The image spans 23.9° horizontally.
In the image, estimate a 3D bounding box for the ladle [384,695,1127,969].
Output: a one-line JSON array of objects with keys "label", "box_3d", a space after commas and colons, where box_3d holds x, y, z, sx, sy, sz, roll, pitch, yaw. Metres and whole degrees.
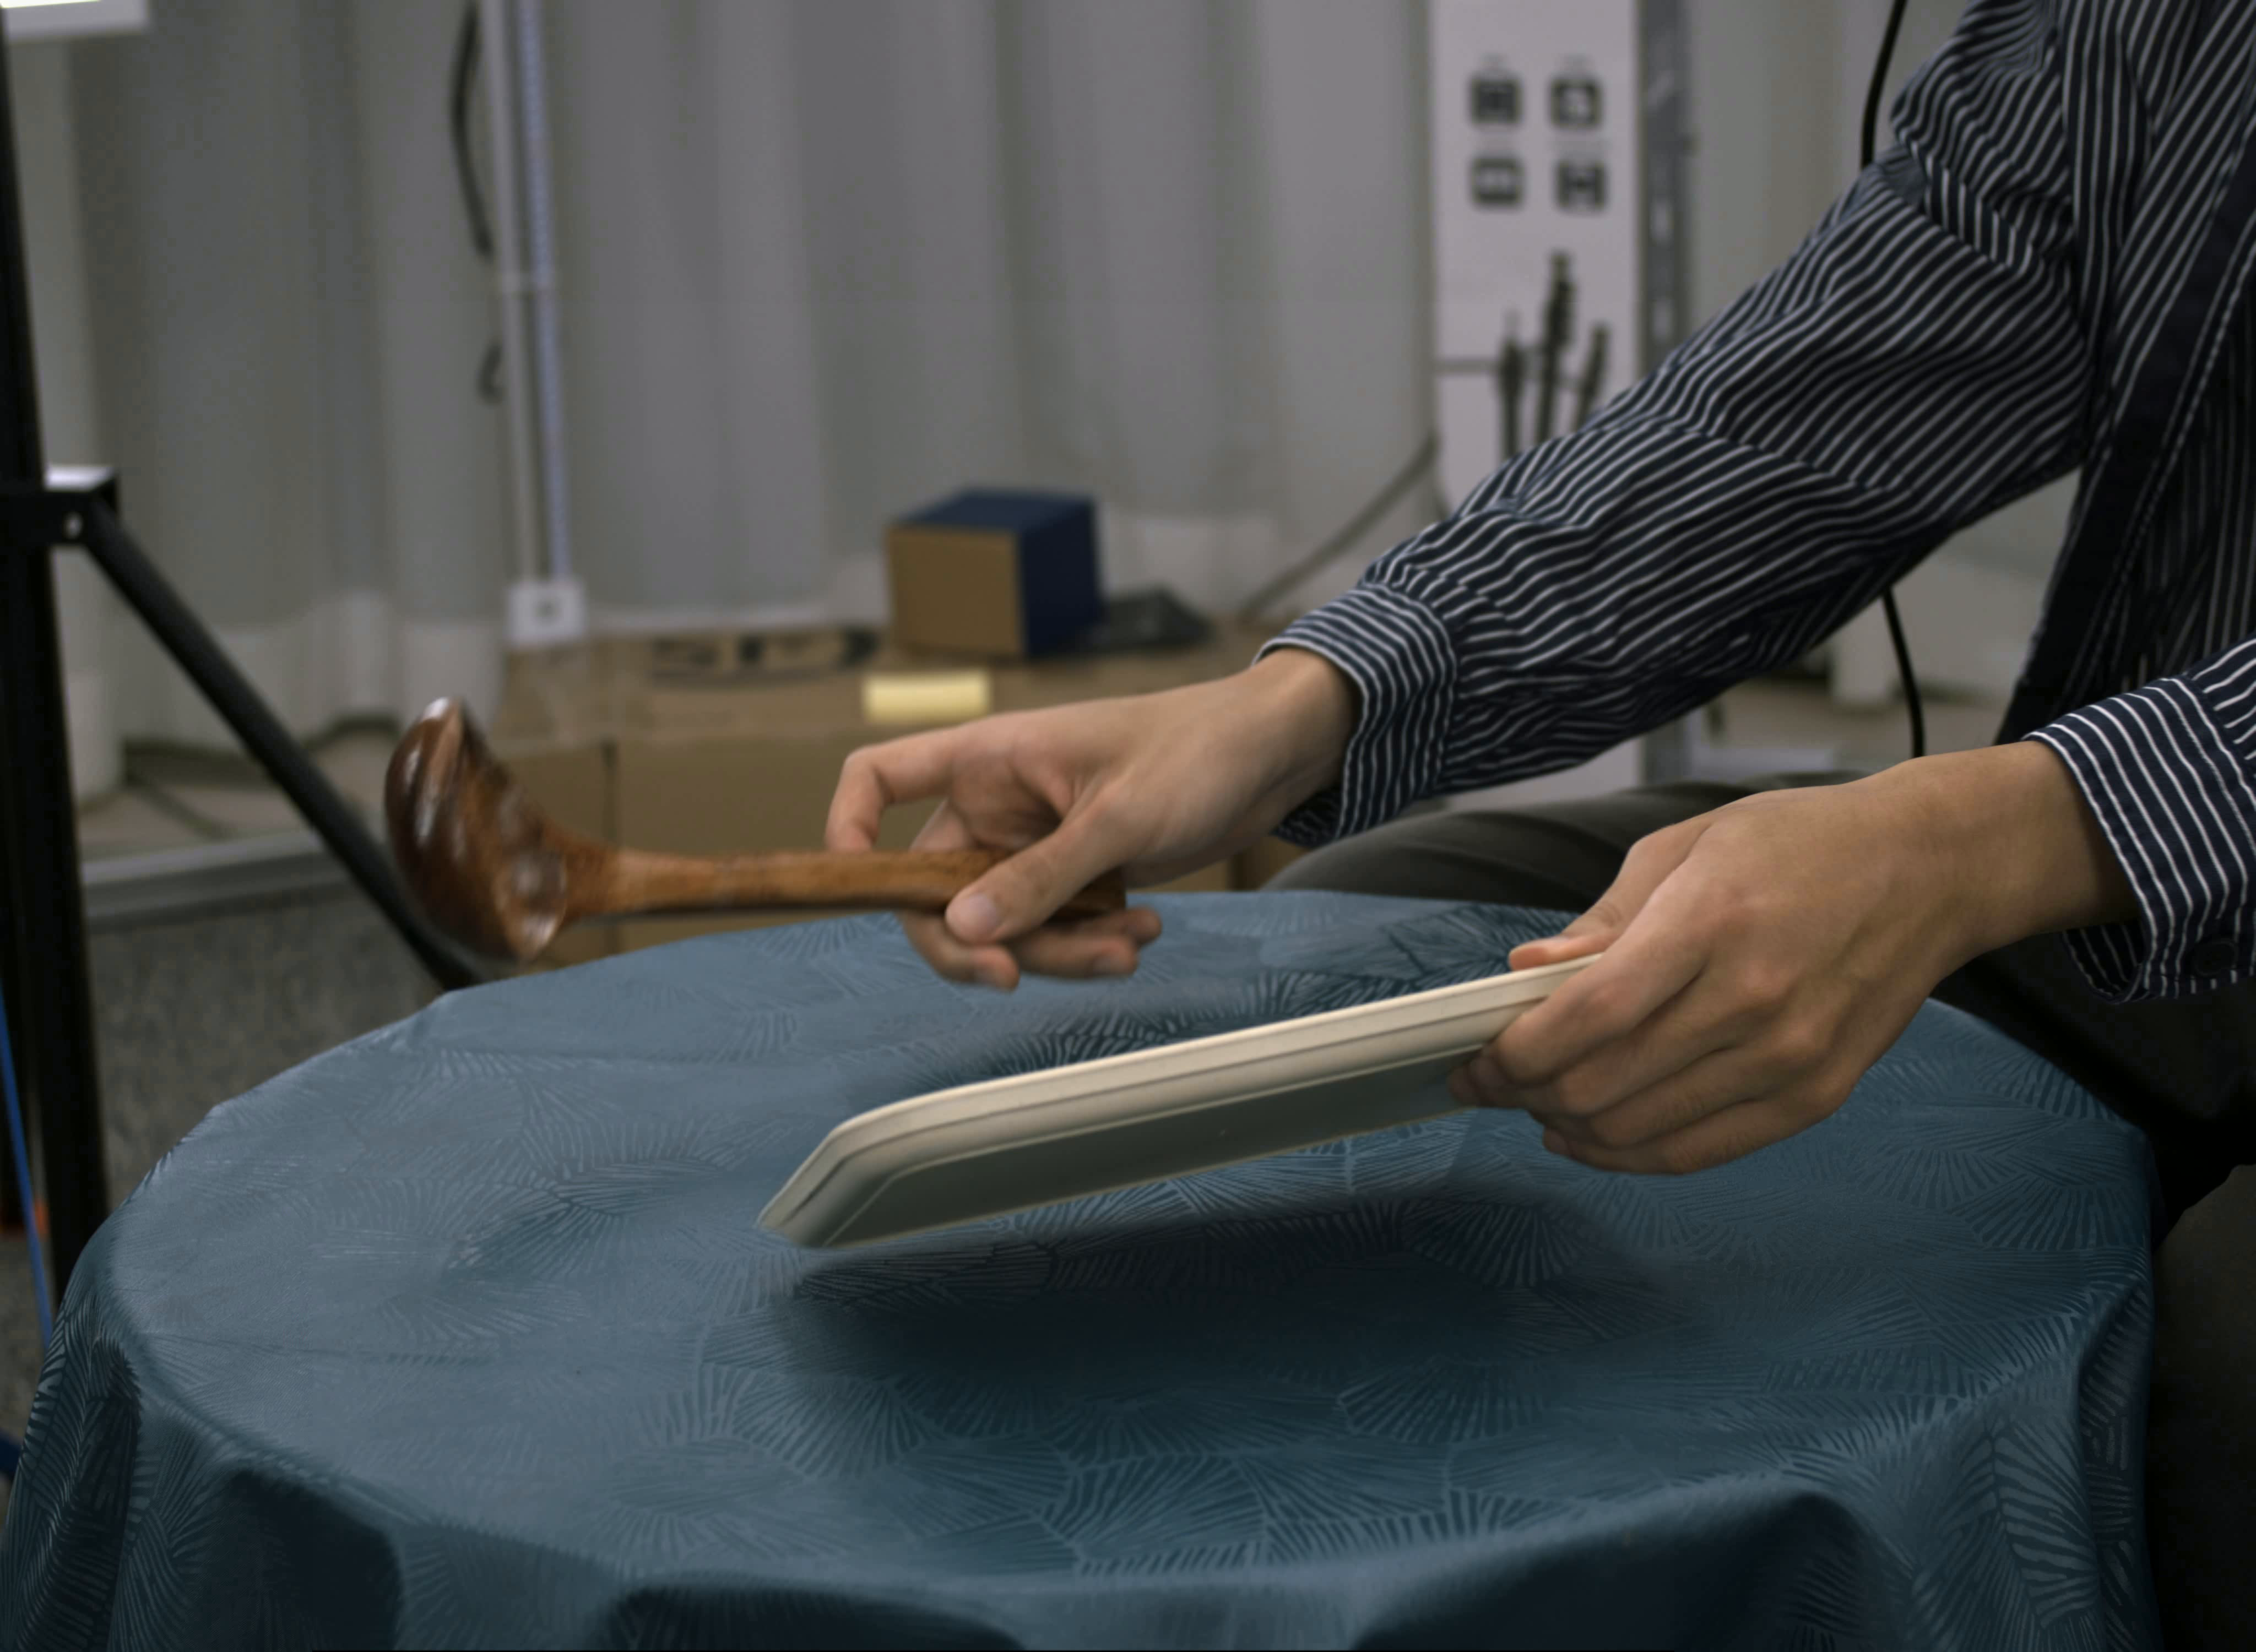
[{"label": "ladle", "box_3d": [-0.104, 0.007, 1.623, 0.267, 0.083, 0.077, 2, -24, -29]}]

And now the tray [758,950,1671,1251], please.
[{"label": "tray", "box_3d": [0.023, 0.079, 1.463, 0.236, 0.017, 0.172, -11, -10, -14]}]
